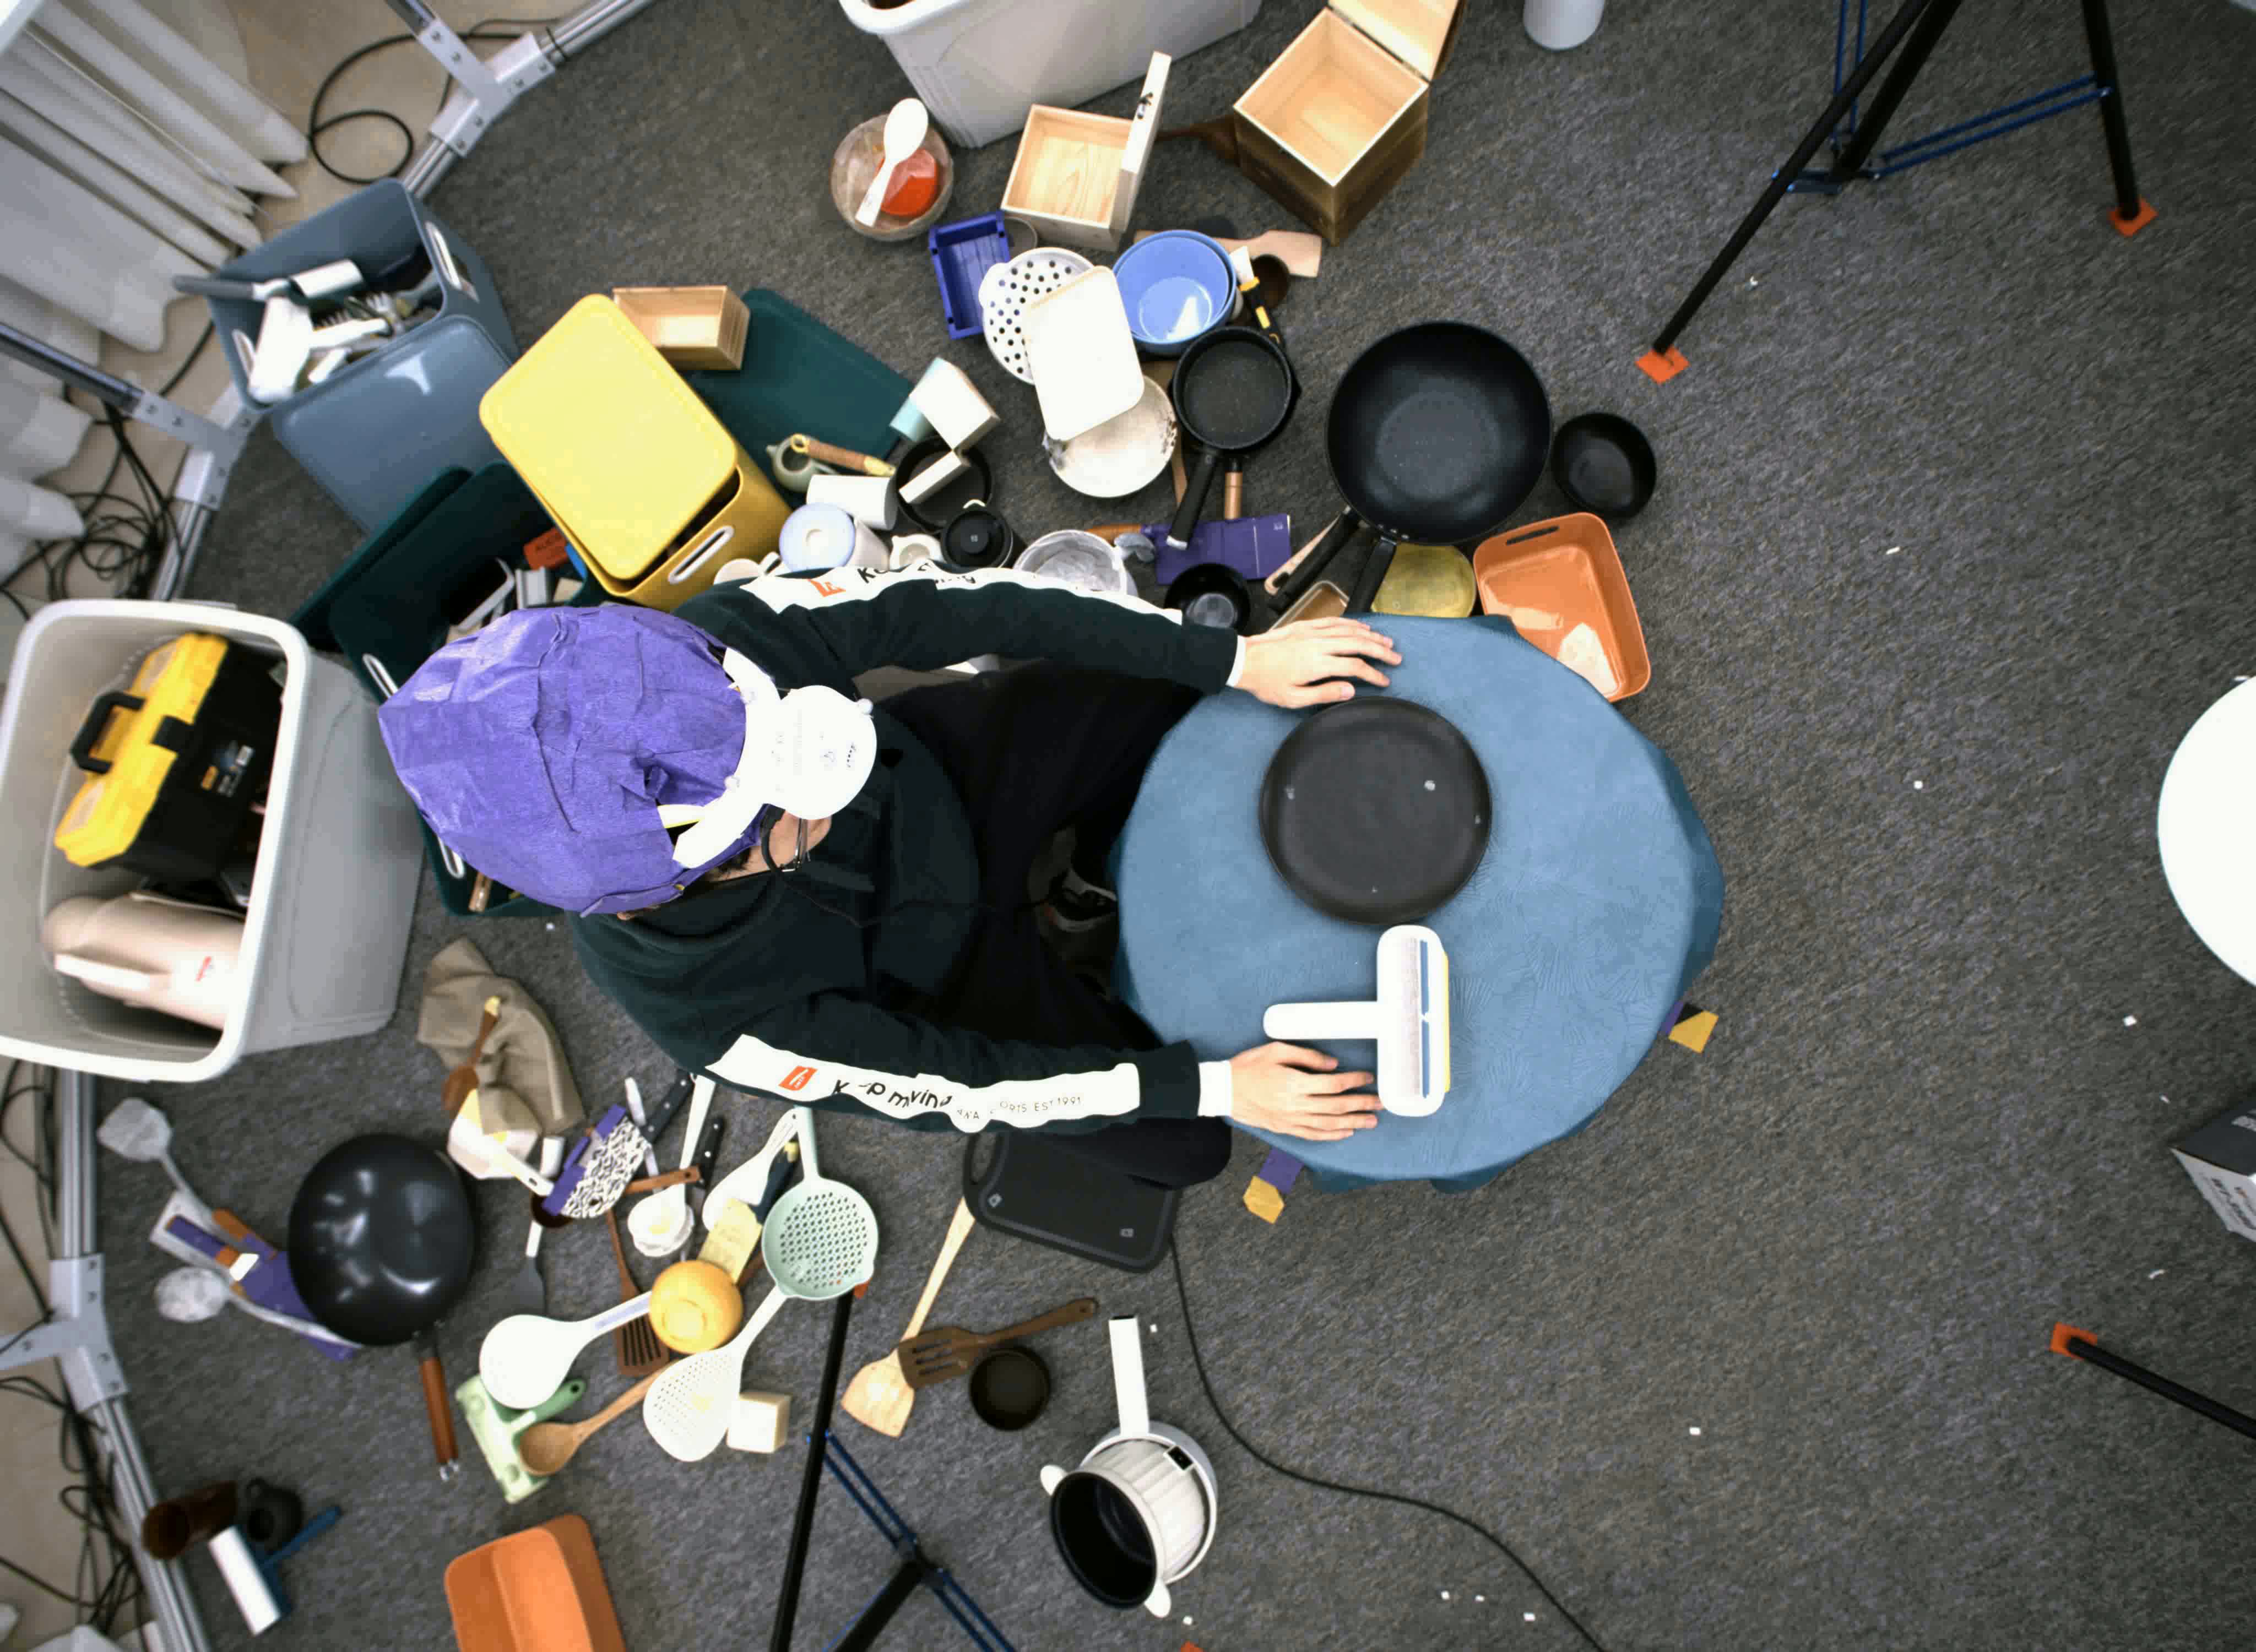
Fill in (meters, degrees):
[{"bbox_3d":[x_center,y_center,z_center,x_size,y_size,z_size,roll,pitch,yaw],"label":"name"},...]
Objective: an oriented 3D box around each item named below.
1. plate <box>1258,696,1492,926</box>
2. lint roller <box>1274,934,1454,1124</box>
[{"bbox_3d":[0.259,-0.017,1.450,0.245,0.023,0.243,-1,87,10],"label":"plate"},{"bbox_3d":[0.238,0.204,1.439,0.193,0.074,0.191,3,80,25],"label":"lint roller"}]
